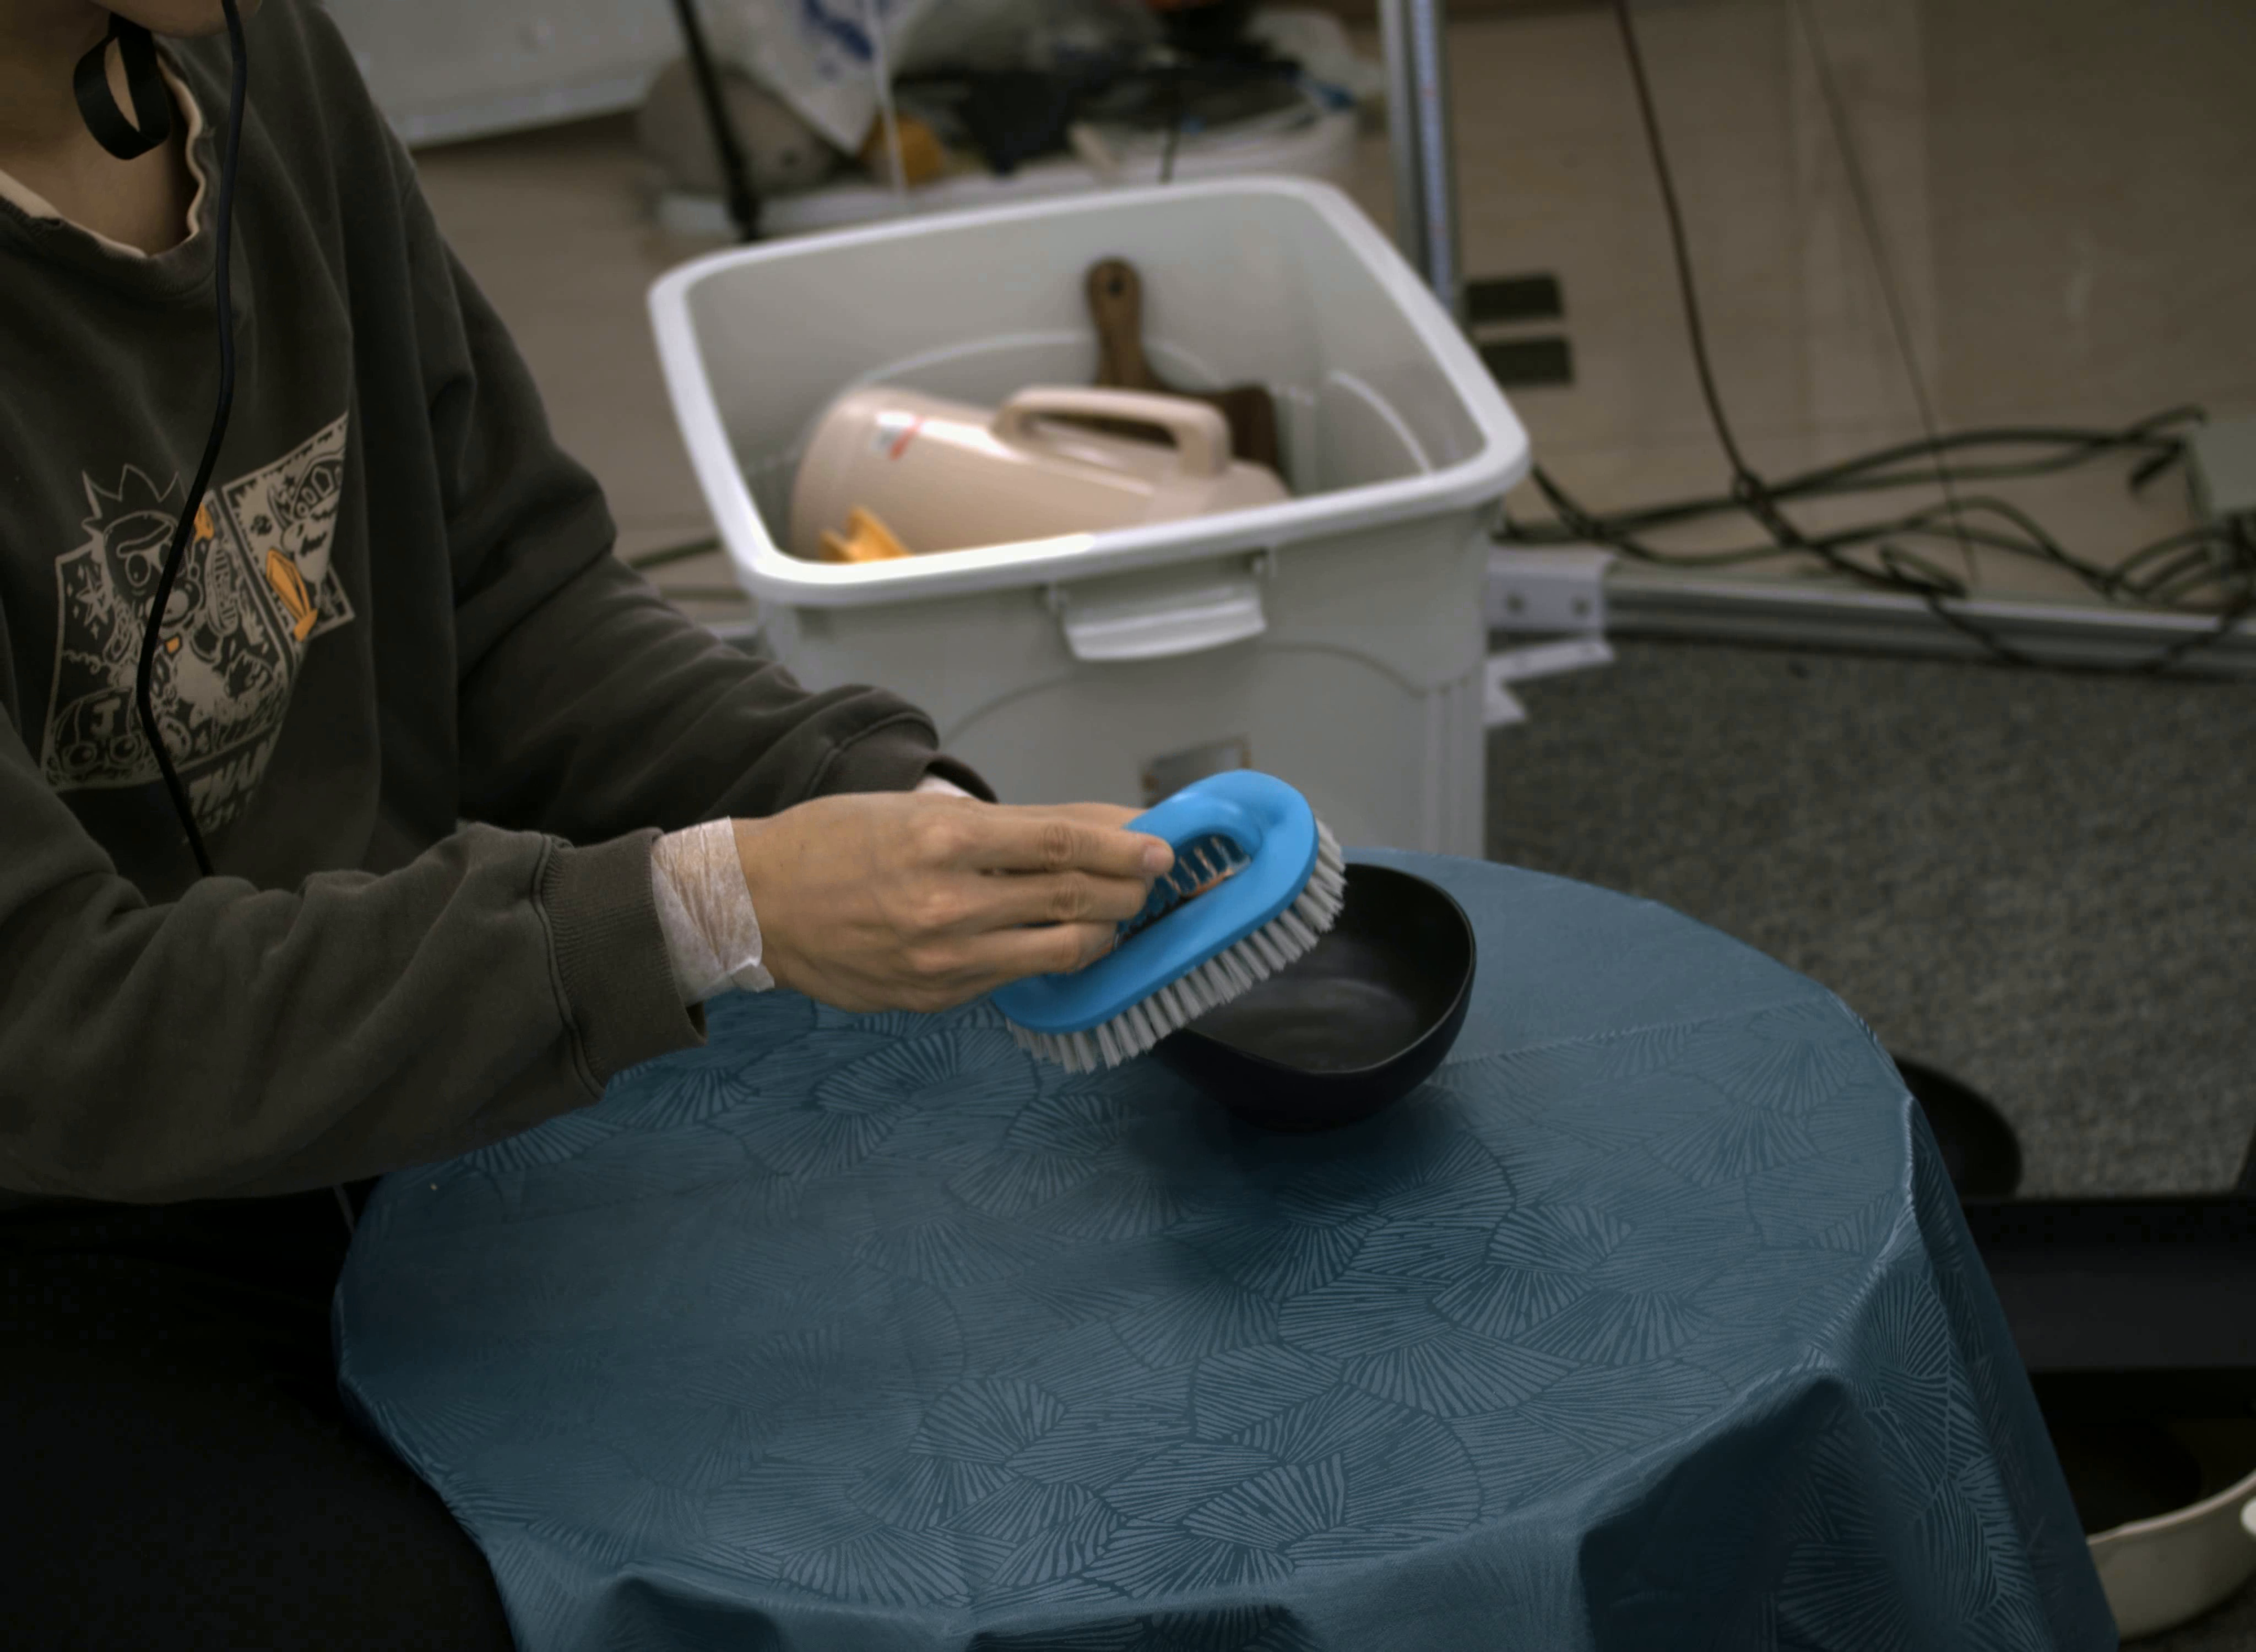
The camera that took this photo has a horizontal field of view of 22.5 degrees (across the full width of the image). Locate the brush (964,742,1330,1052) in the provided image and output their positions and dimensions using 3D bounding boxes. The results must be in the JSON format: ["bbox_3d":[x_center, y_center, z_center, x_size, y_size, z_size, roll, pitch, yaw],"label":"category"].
[{"bbox_3d":[0.003,0.020,2.072,0.142,0.065,0.083,-30,52,5],"label":"brush"}]

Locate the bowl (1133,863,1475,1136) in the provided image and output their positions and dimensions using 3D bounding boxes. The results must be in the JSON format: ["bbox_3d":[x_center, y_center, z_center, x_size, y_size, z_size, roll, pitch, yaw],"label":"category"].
[{"bbox_3d":[0.068,0.075,2.193,0.137,0.068,0.168,-15,28,-14],"label":"bowl"}]
